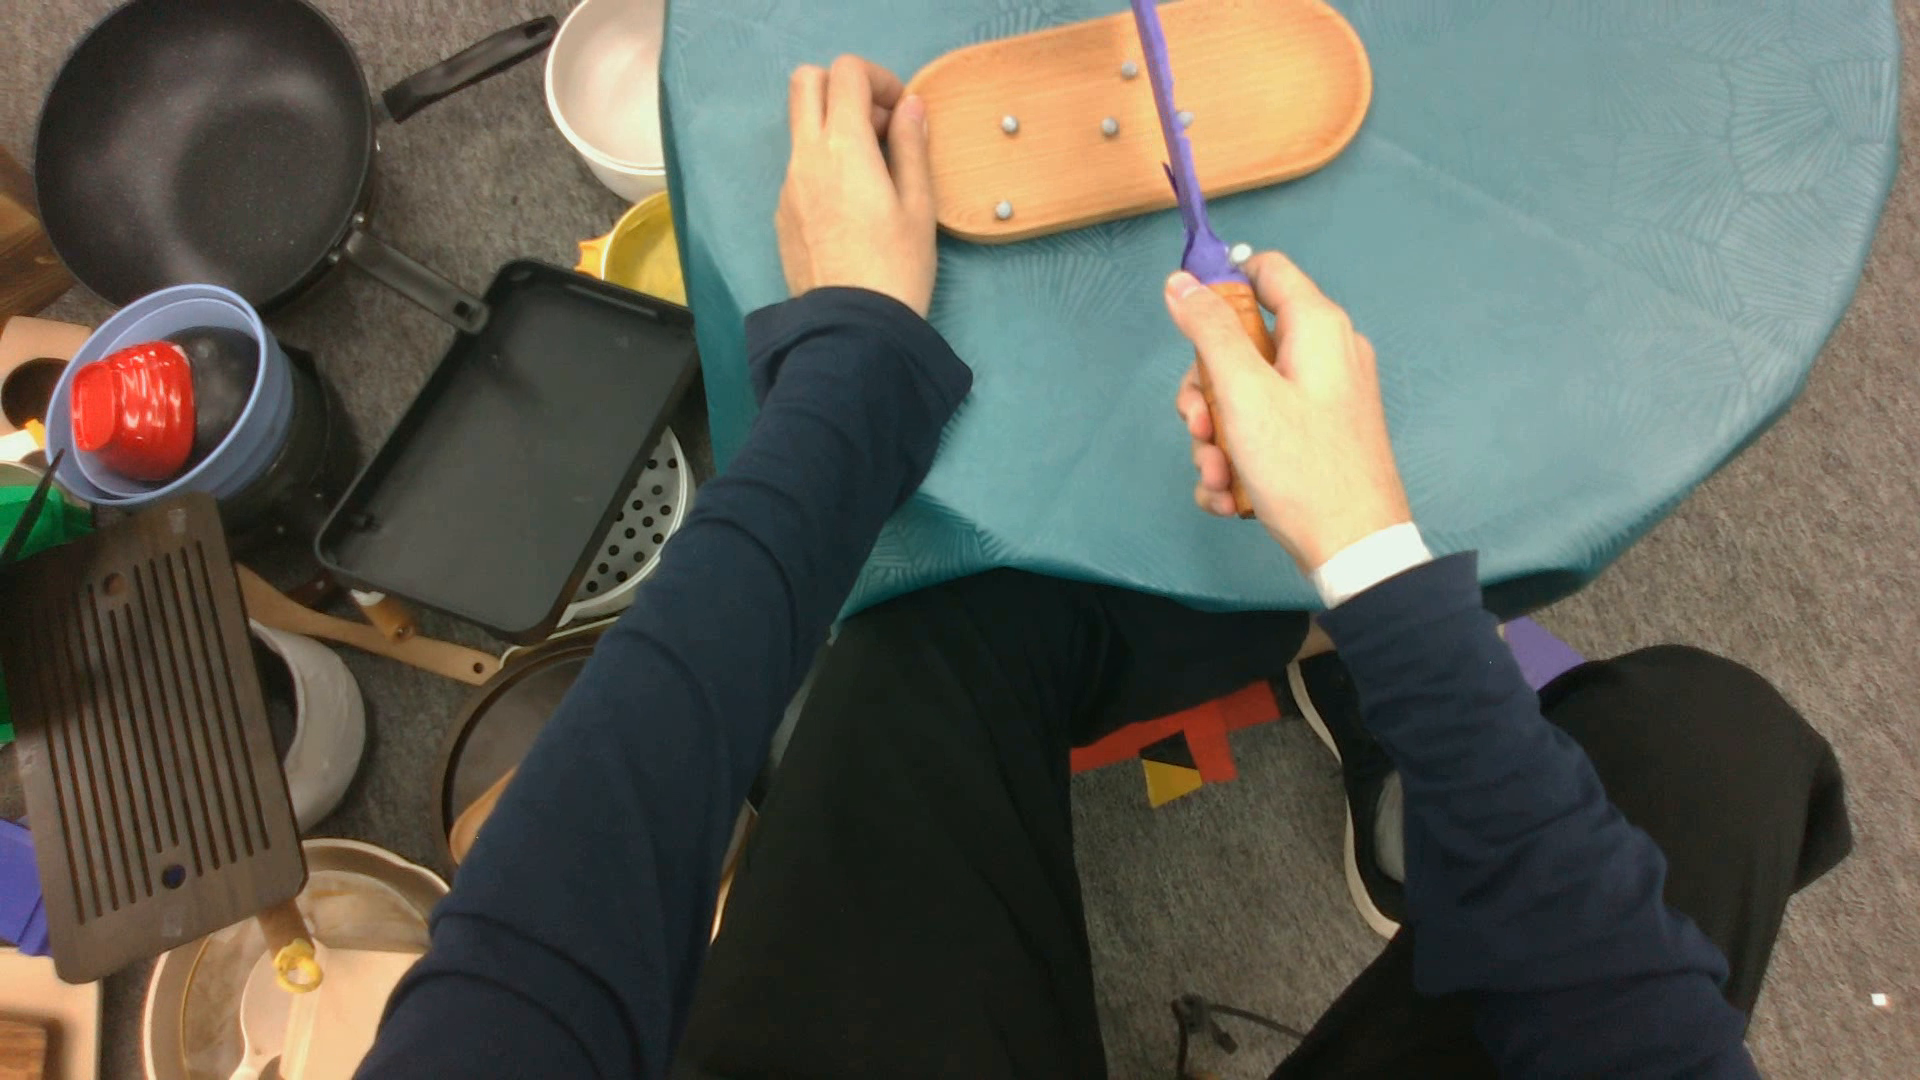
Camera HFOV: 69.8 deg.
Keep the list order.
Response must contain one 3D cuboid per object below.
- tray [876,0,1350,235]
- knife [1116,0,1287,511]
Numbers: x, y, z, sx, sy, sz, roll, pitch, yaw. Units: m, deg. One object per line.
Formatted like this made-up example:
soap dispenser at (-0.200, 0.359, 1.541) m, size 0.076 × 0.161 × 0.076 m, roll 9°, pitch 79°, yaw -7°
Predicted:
tray at (0.074, -0.208, 0.663) m, size 0.231 × 0.020 × 0.102 m, roll -13°, pitch 77°, yaw -5°
knife at (0.091, -0.163, 0.581) m, size 0.032 × 0.104 × 0.315 m, roll -11°, pitch 81°, yaw 9°
